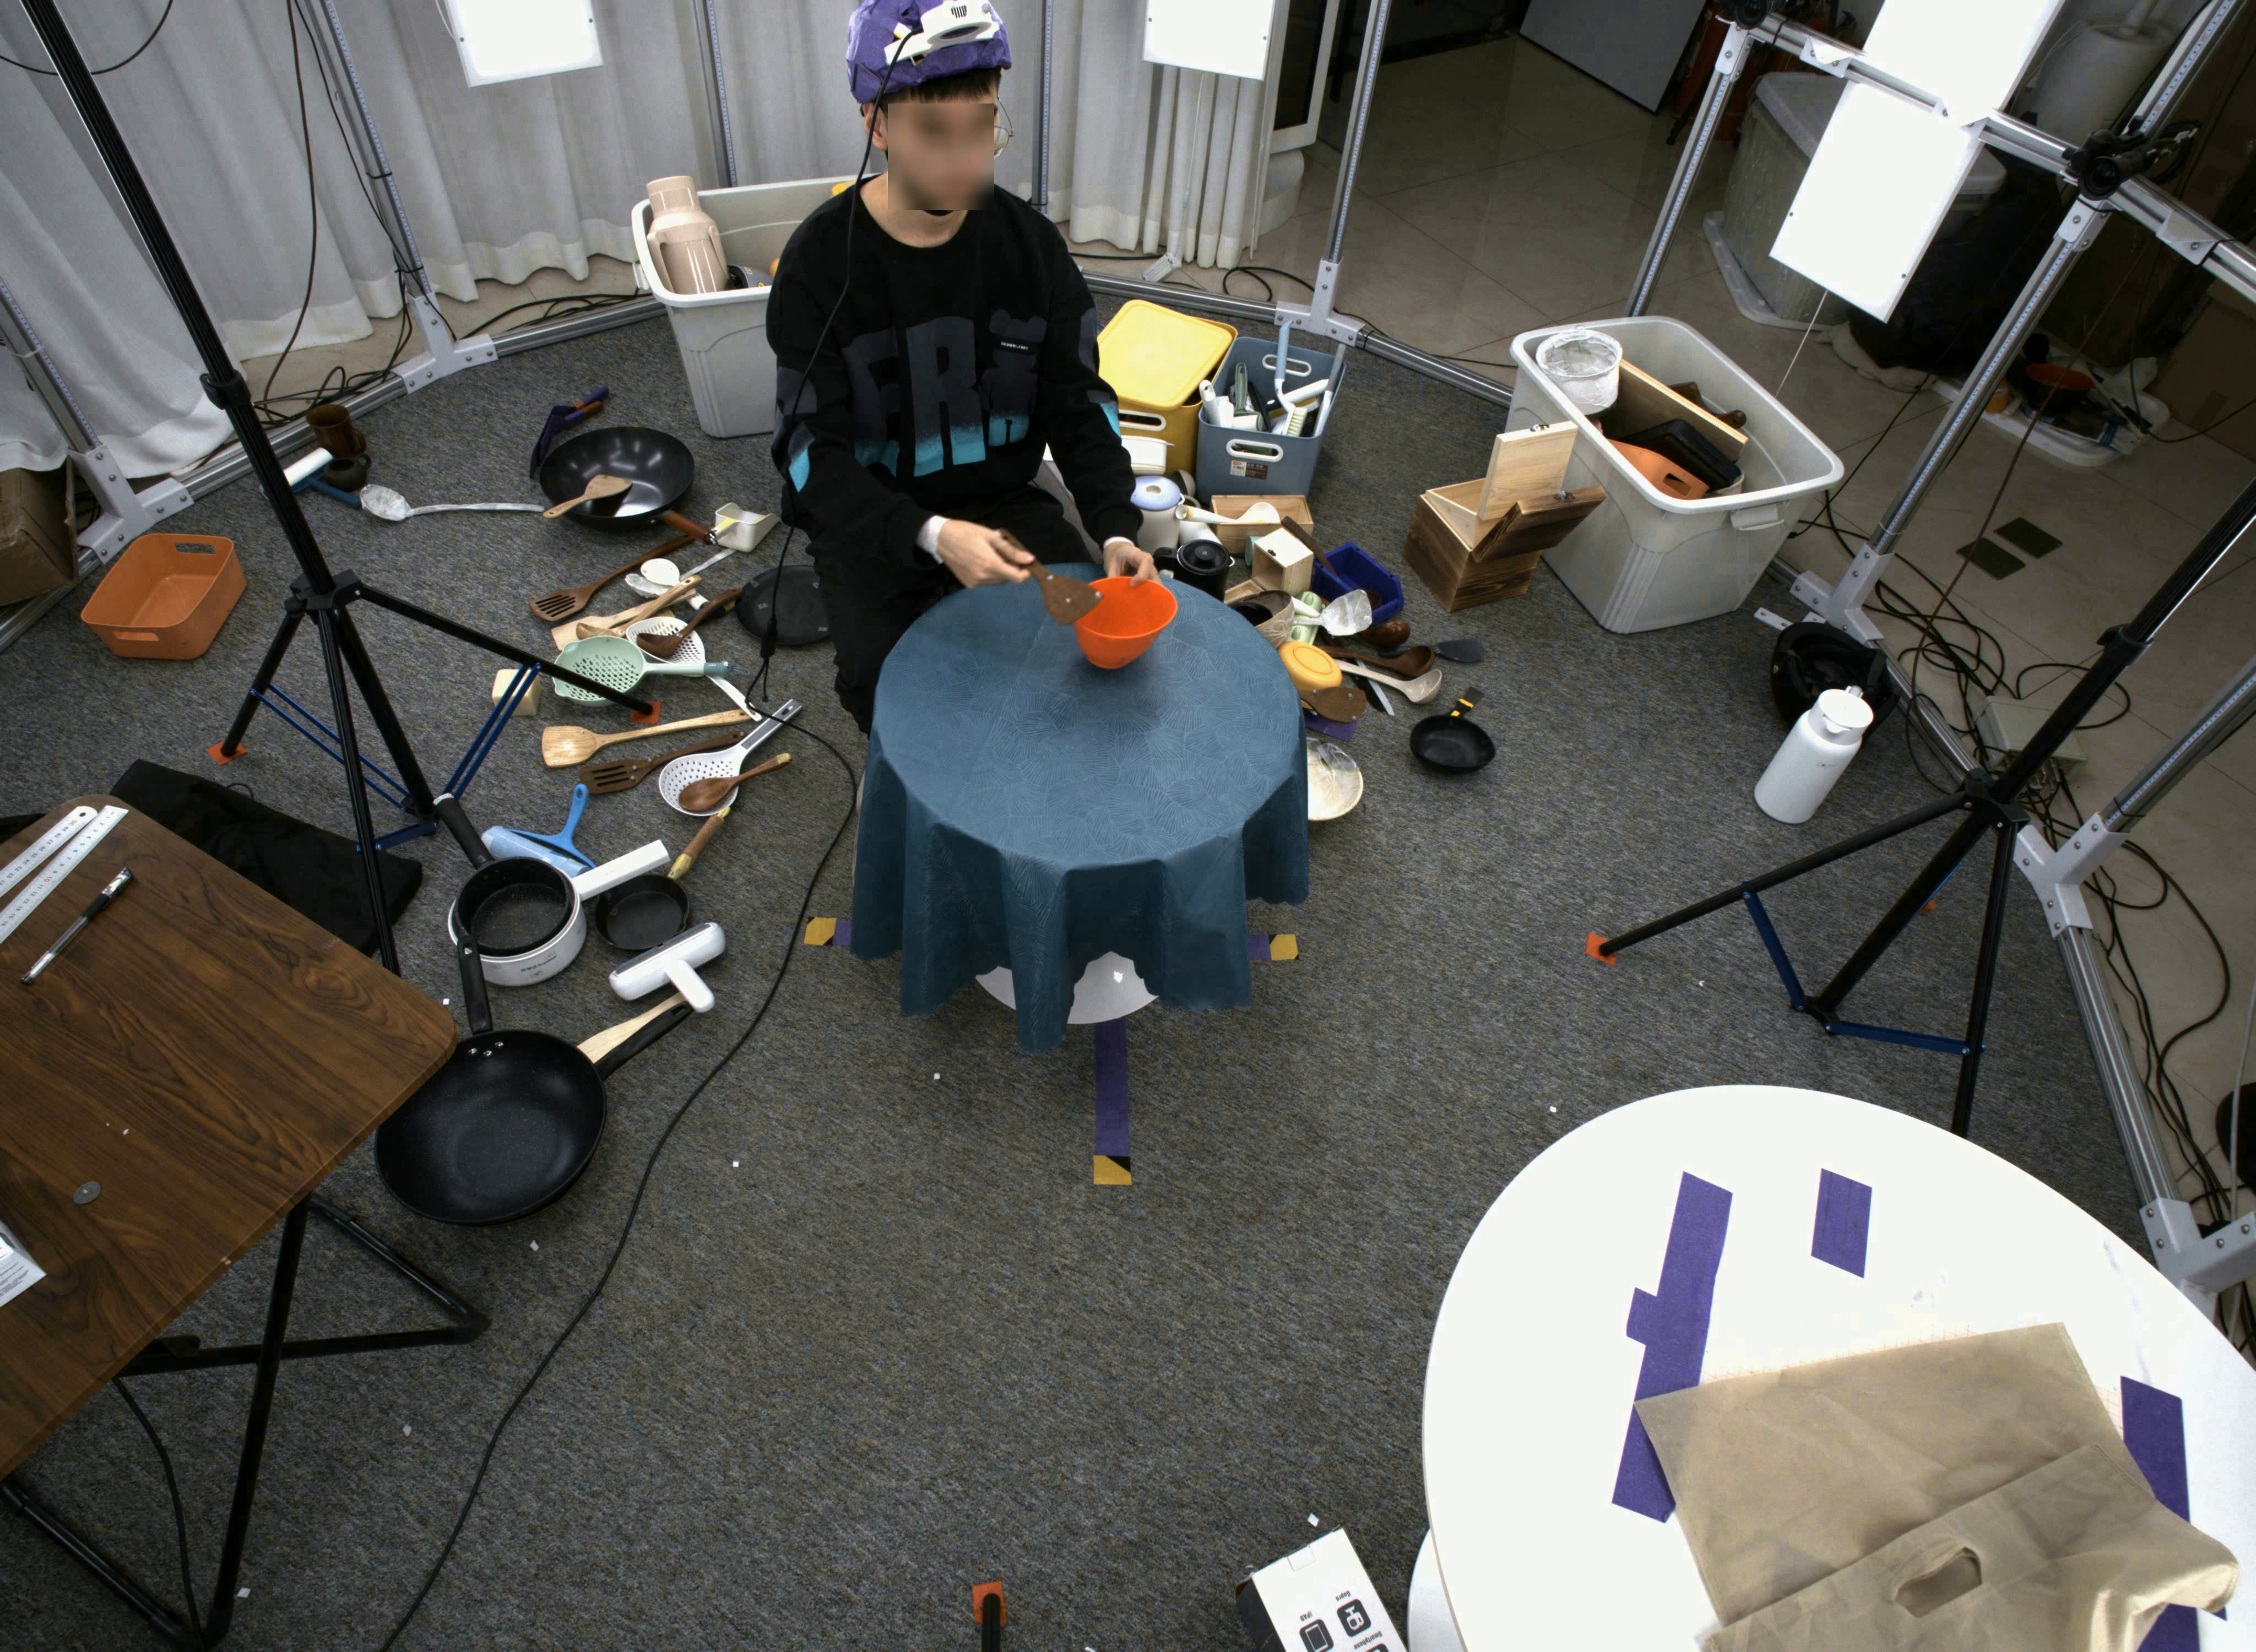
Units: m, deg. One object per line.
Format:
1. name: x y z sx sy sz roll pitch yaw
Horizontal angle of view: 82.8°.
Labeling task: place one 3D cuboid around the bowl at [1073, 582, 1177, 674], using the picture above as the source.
1. bowl: -0.010 -0.275 1.839 0.148 0.102 0.152 4 45 -5

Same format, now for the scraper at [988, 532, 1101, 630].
1. scraper: -0.126 -0.349 1.804 0.076 0.010 0.215 -36 61 -16
